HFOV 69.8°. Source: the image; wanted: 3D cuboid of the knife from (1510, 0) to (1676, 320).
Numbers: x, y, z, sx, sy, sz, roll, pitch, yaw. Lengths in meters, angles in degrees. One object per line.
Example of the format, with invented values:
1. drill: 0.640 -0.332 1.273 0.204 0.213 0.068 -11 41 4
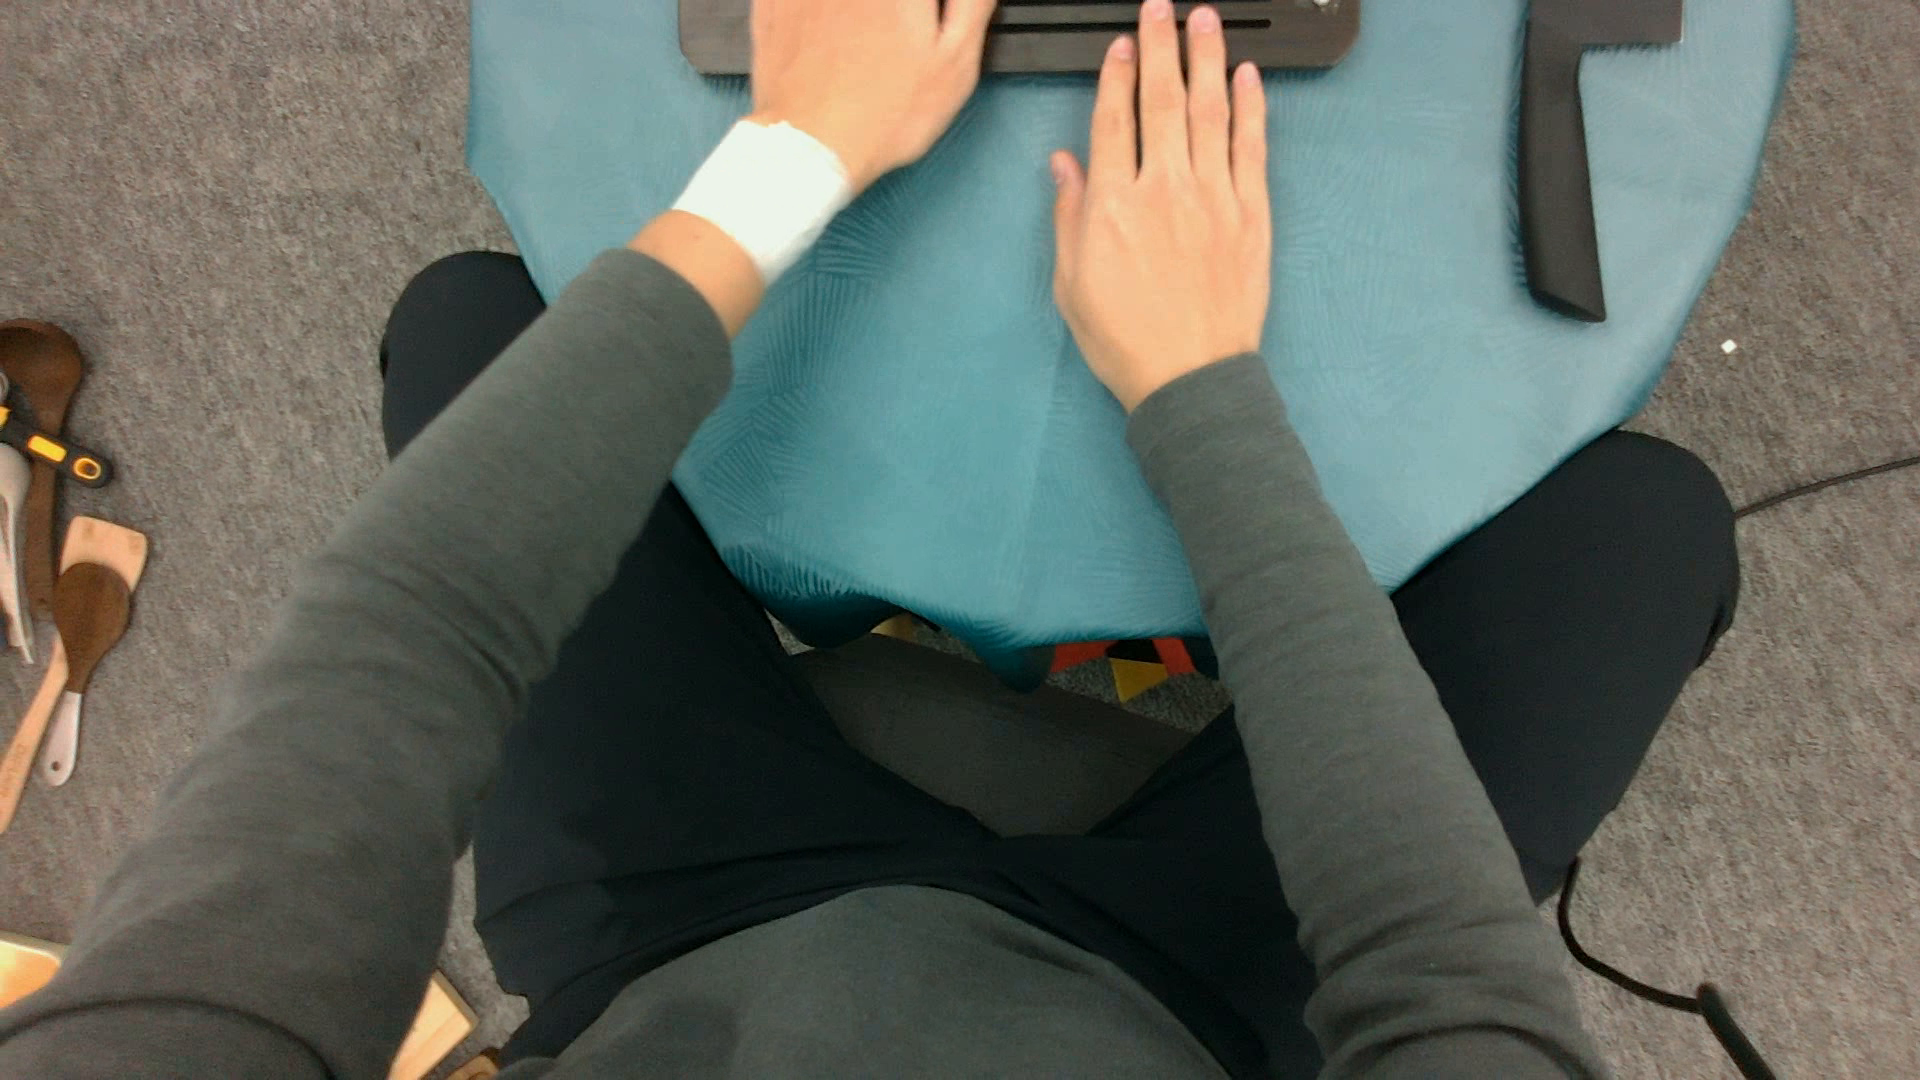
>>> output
1. knife: 0.274 -0.247 0.602 0.081 0.021 0.302 4 89 5

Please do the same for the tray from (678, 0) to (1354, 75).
1. tray: 0.023 -0.298 0.626 0.306 0.018 0.170 1 91 6
